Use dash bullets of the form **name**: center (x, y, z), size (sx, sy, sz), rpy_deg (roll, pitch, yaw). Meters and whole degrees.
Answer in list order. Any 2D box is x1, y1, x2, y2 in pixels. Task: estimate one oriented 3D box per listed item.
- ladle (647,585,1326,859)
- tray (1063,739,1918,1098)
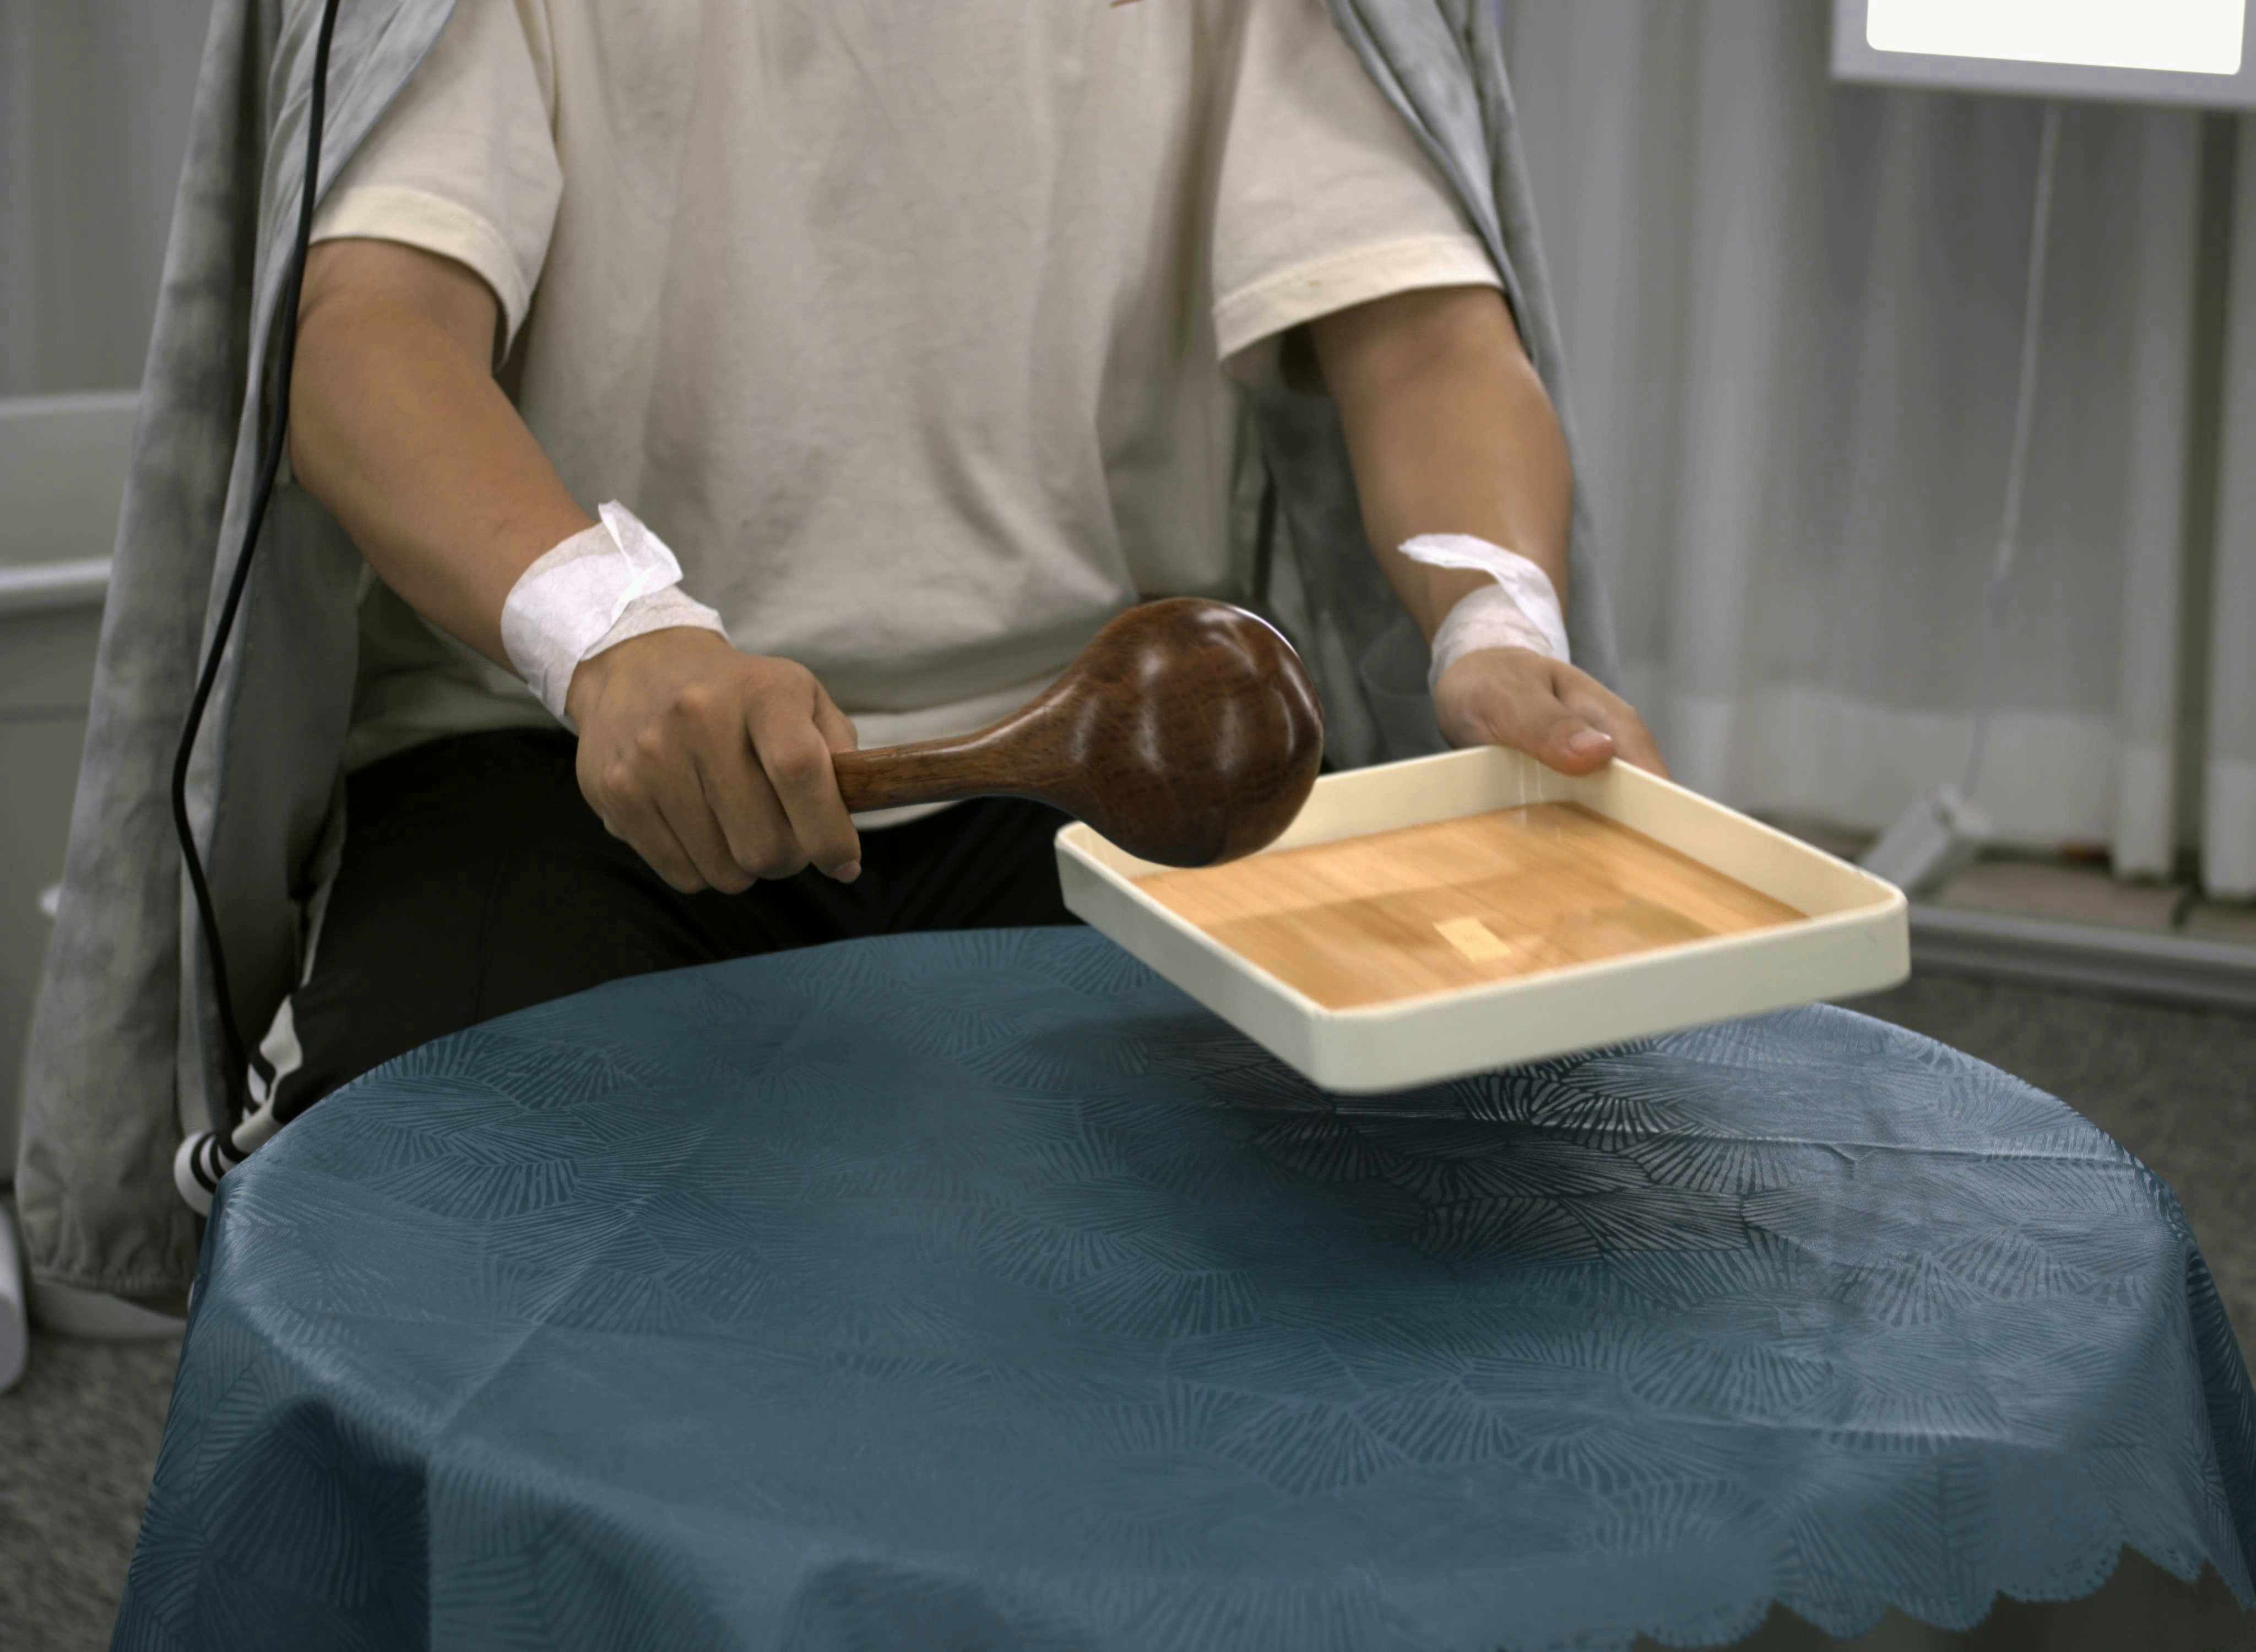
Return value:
- **ladle**: center (-0.046, -0.020, 1.641), size (0.077, 0.082, 0.271), rpy_deg (1, -7, -38)
- **tray**: center (0.107, 0.025, 1.674), size (0.192, 0.027, 0.297), rpy_deg (-11, 14, -15)
